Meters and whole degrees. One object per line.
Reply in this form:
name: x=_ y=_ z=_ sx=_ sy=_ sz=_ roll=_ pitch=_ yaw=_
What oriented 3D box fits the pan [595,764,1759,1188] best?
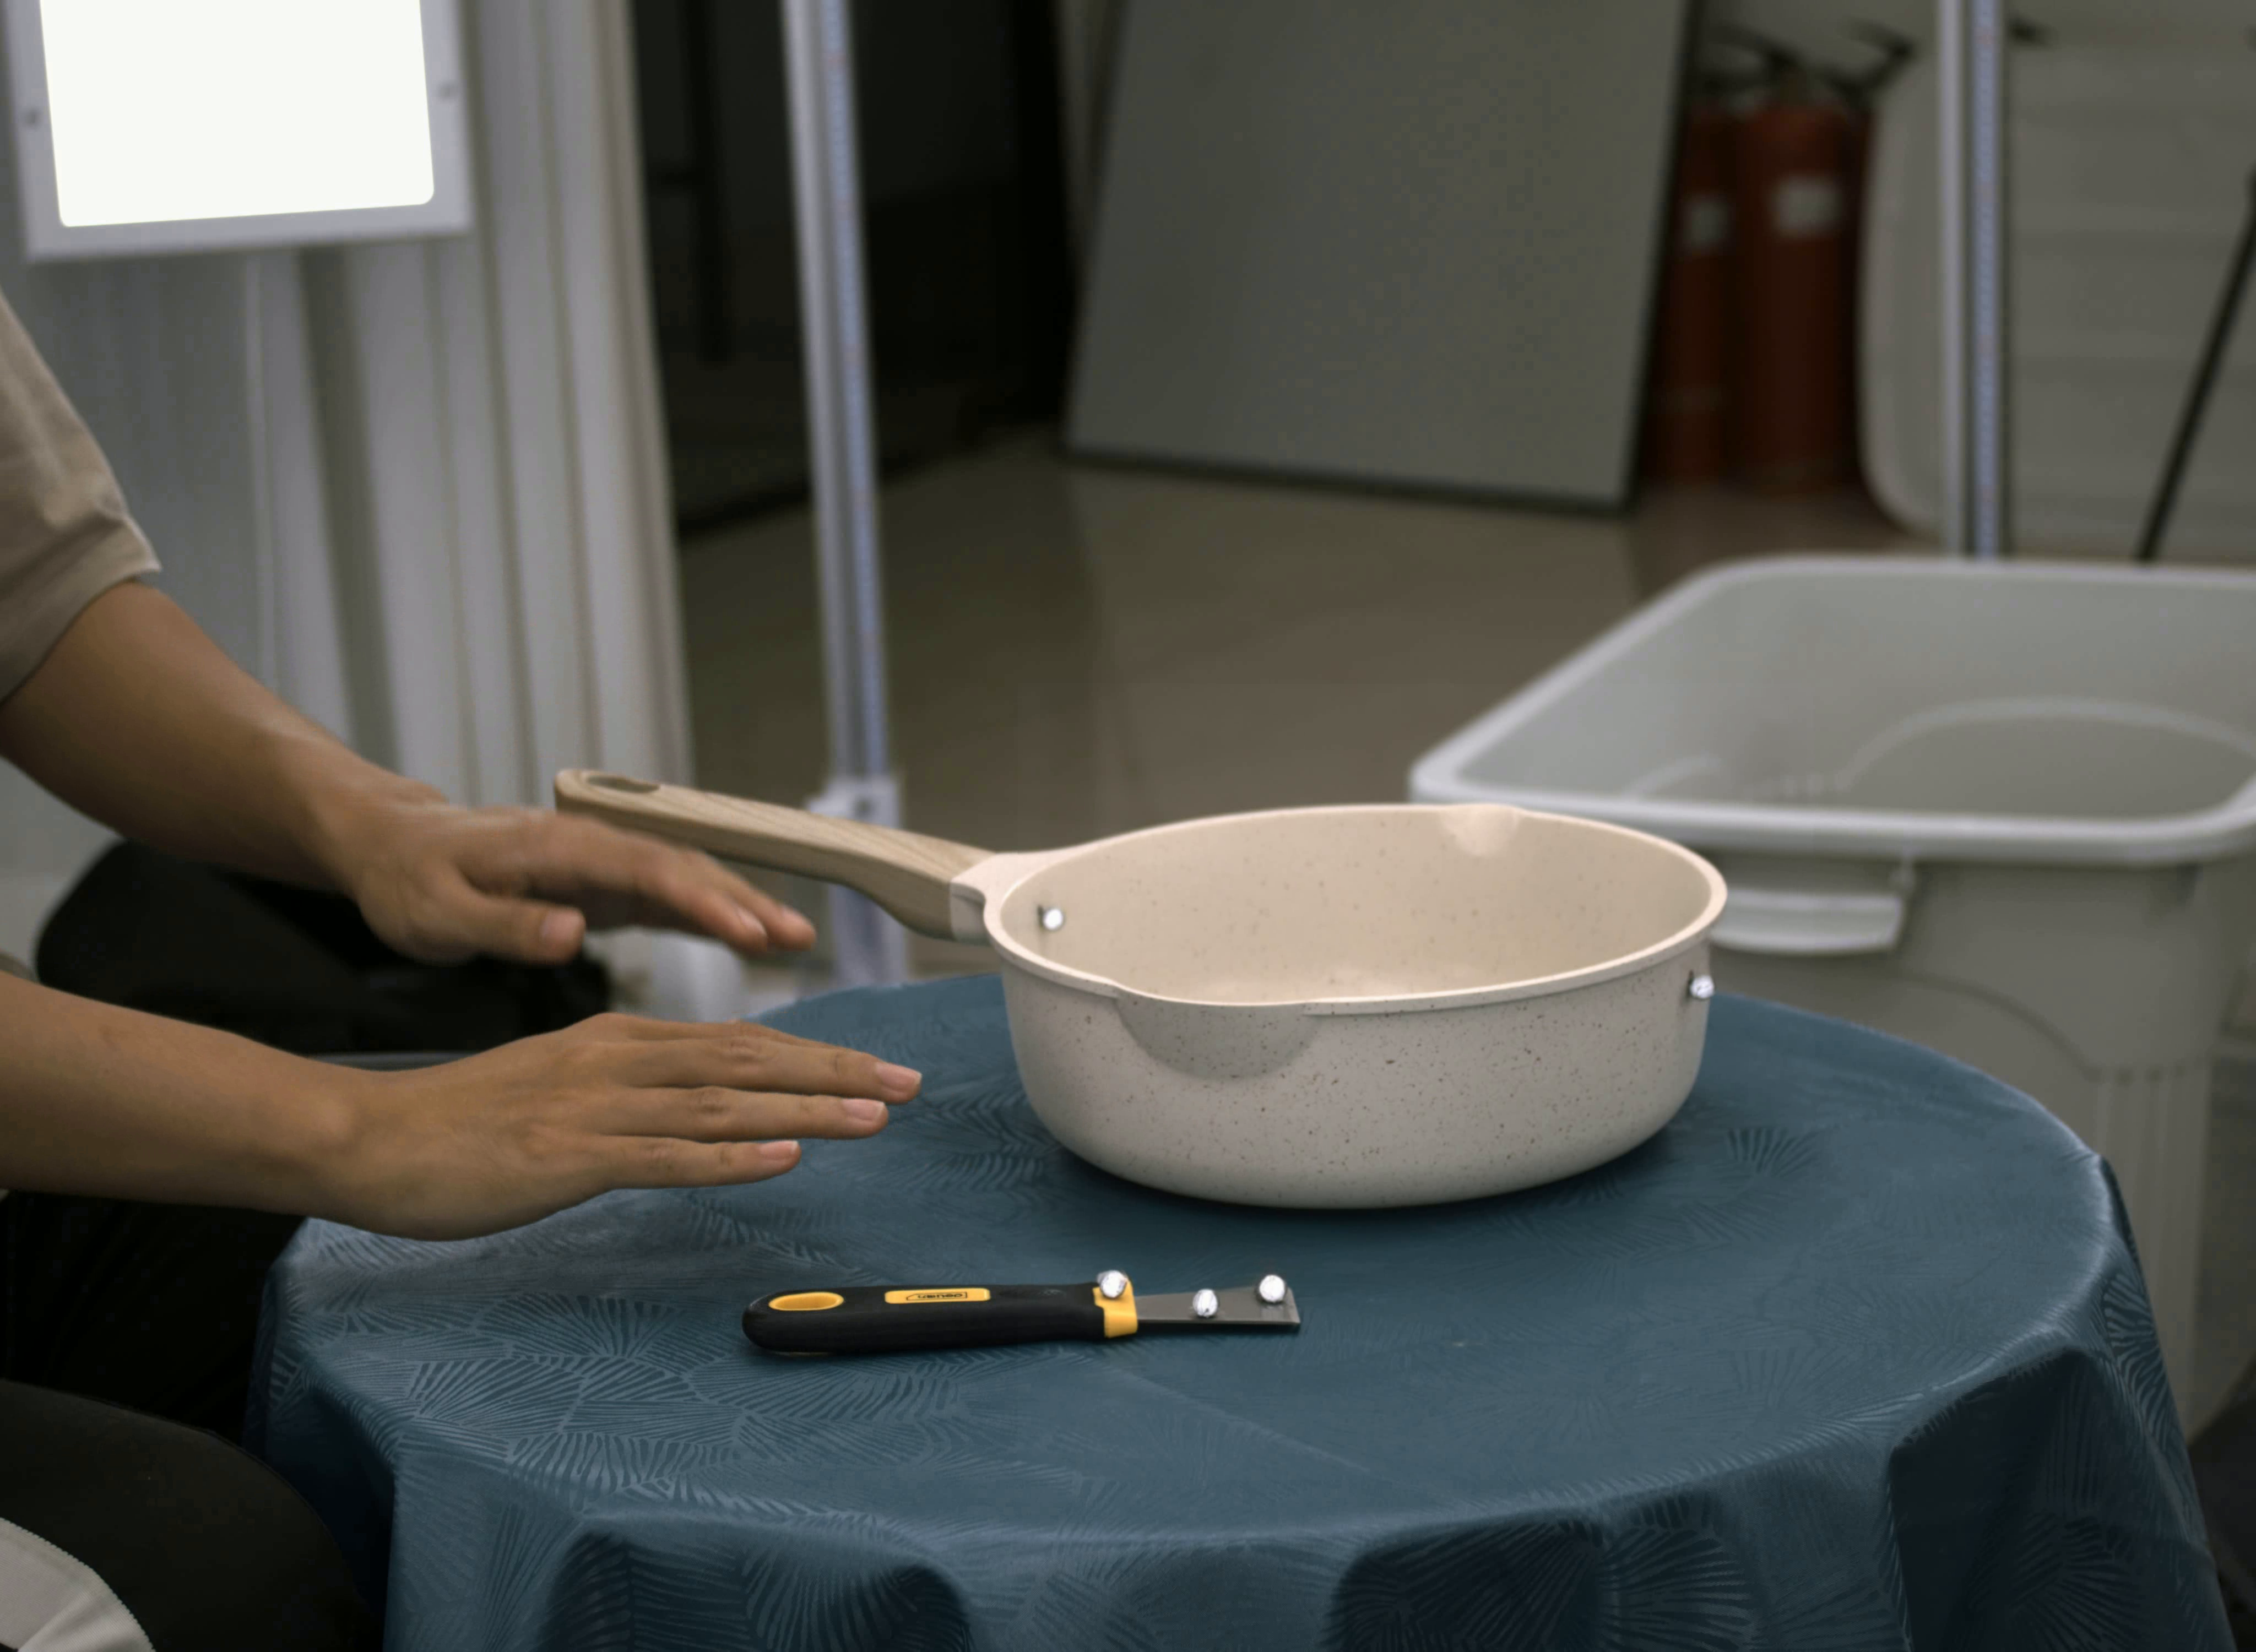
pan: x=0.009 y=0.041 z=1.876 sx=0.435 sy=0.103 sz=0.260 roll=3 pitch=18 yaw=26

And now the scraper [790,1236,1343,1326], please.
scraper: x=-0.019 y=0.138 z=1.649 sx=0.168 sy=0.015 sz=0.039 roll=-2 pitch=17 yaw=-4
